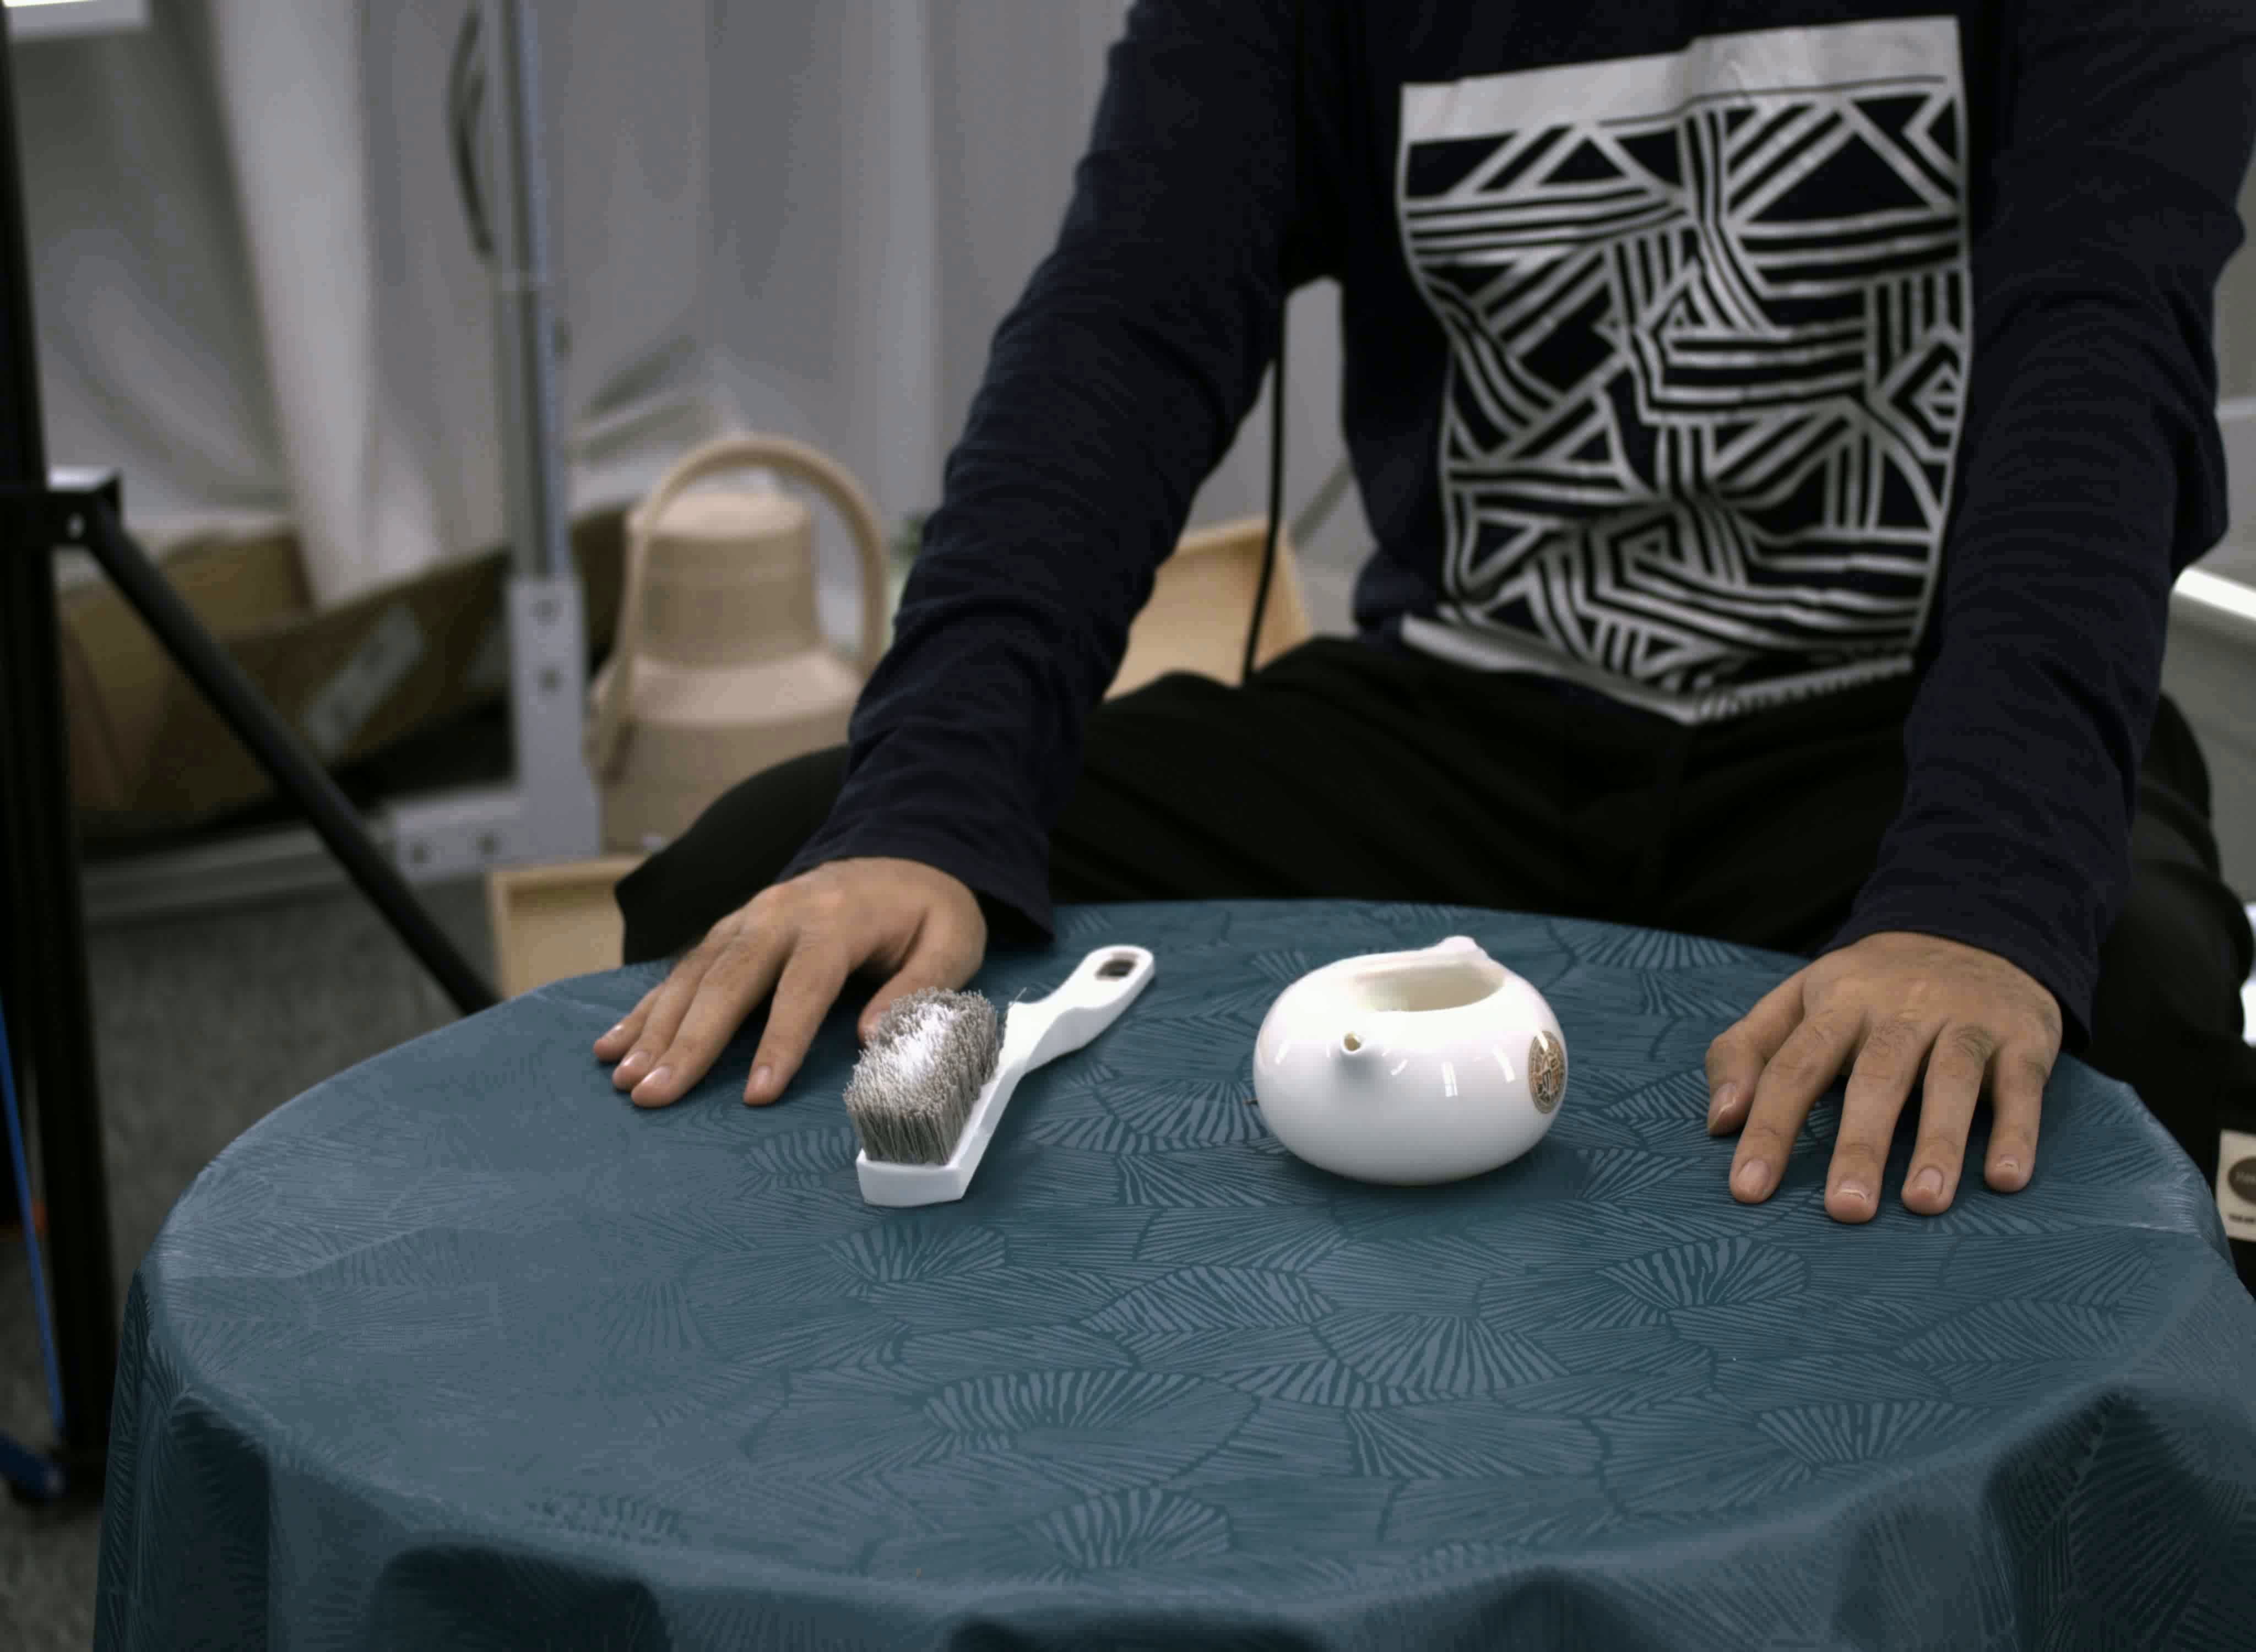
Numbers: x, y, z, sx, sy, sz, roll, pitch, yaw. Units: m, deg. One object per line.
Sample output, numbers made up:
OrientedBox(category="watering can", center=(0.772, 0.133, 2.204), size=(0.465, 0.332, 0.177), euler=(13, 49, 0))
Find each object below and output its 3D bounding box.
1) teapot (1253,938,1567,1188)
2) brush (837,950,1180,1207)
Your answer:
OrientedBox(category="teapot", center=(0.087, 0.070, 1.583), size=(0.094, 0.056, 0.126), euler=(-1, 13, 19))
OrientedBox(category="brush", center=(-0.032, 0.058, 1.654), size=(0.035, 0.050, 0.241), euler=(-1, 15, 21))
